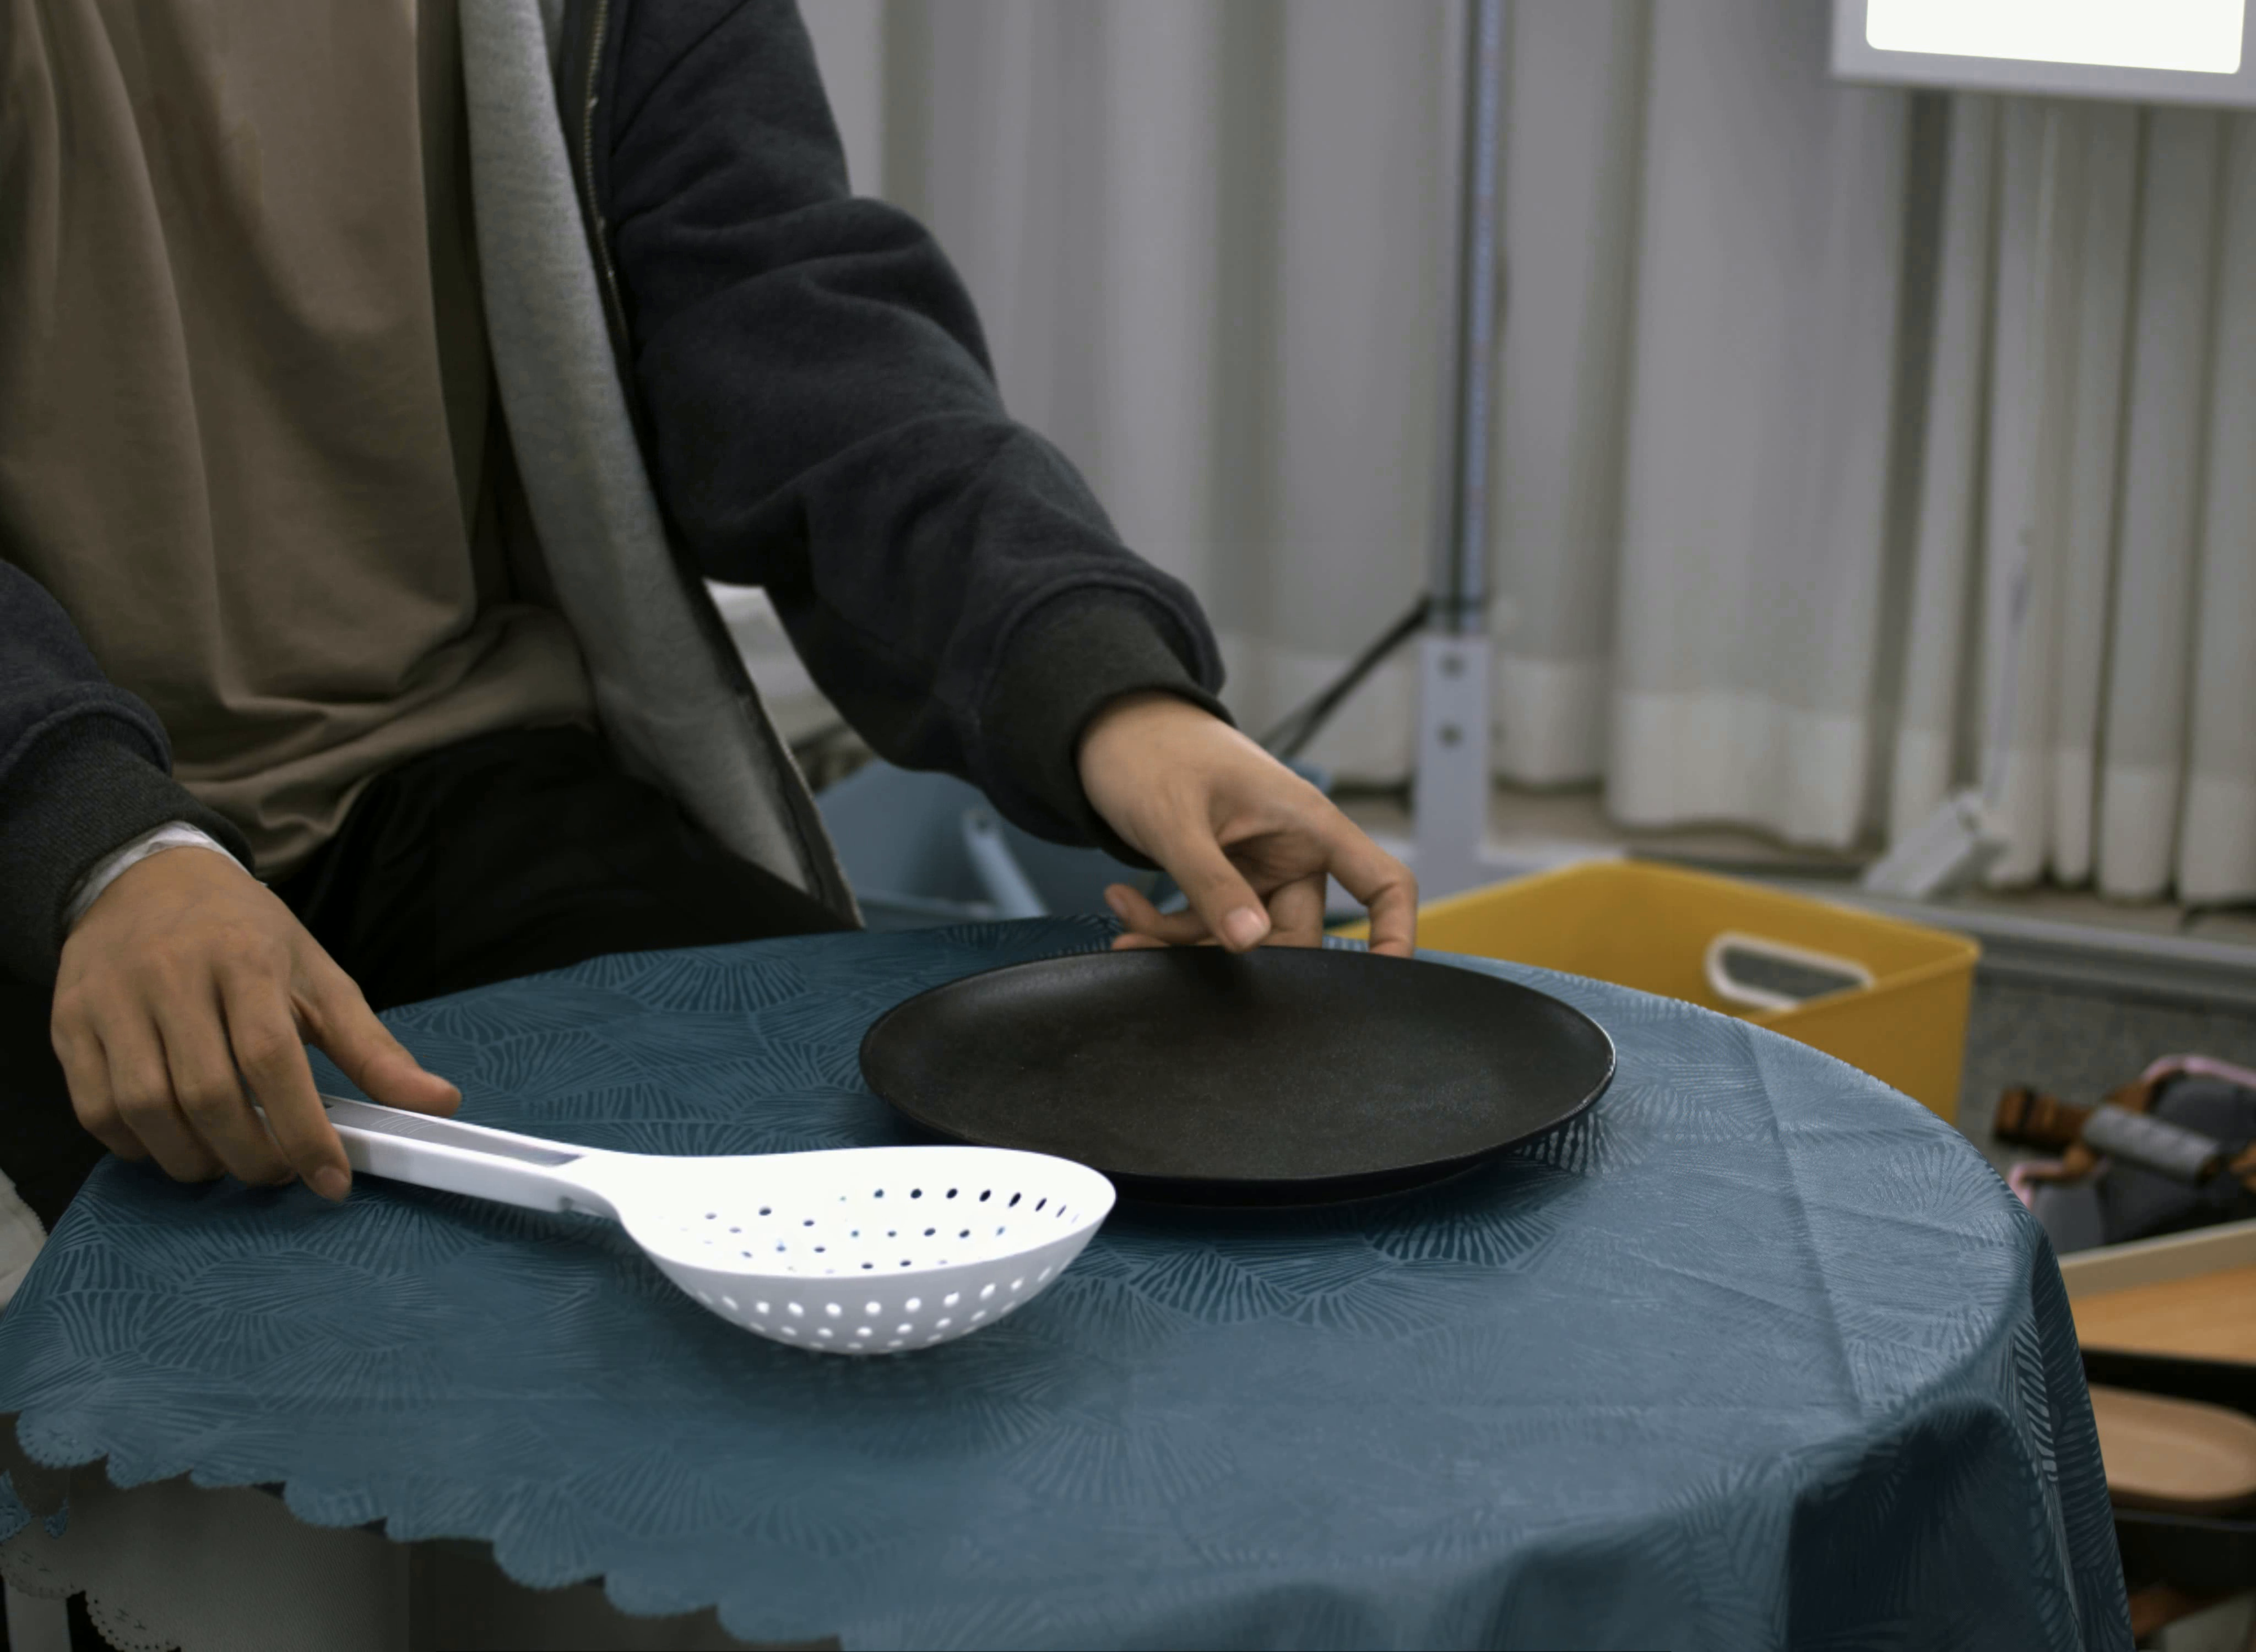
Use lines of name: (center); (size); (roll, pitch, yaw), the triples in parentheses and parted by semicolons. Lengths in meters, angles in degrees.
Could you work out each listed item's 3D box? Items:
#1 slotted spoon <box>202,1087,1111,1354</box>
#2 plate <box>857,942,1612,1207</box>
slotted spoon: (-0.153, 0.106, 1.555); (0.345, 0.046, 0.137); (12, 18, 38)
plate: (0.034, 0.082, 1.690); (0.243, 0.023, 0.243); (1, 16, 0)
